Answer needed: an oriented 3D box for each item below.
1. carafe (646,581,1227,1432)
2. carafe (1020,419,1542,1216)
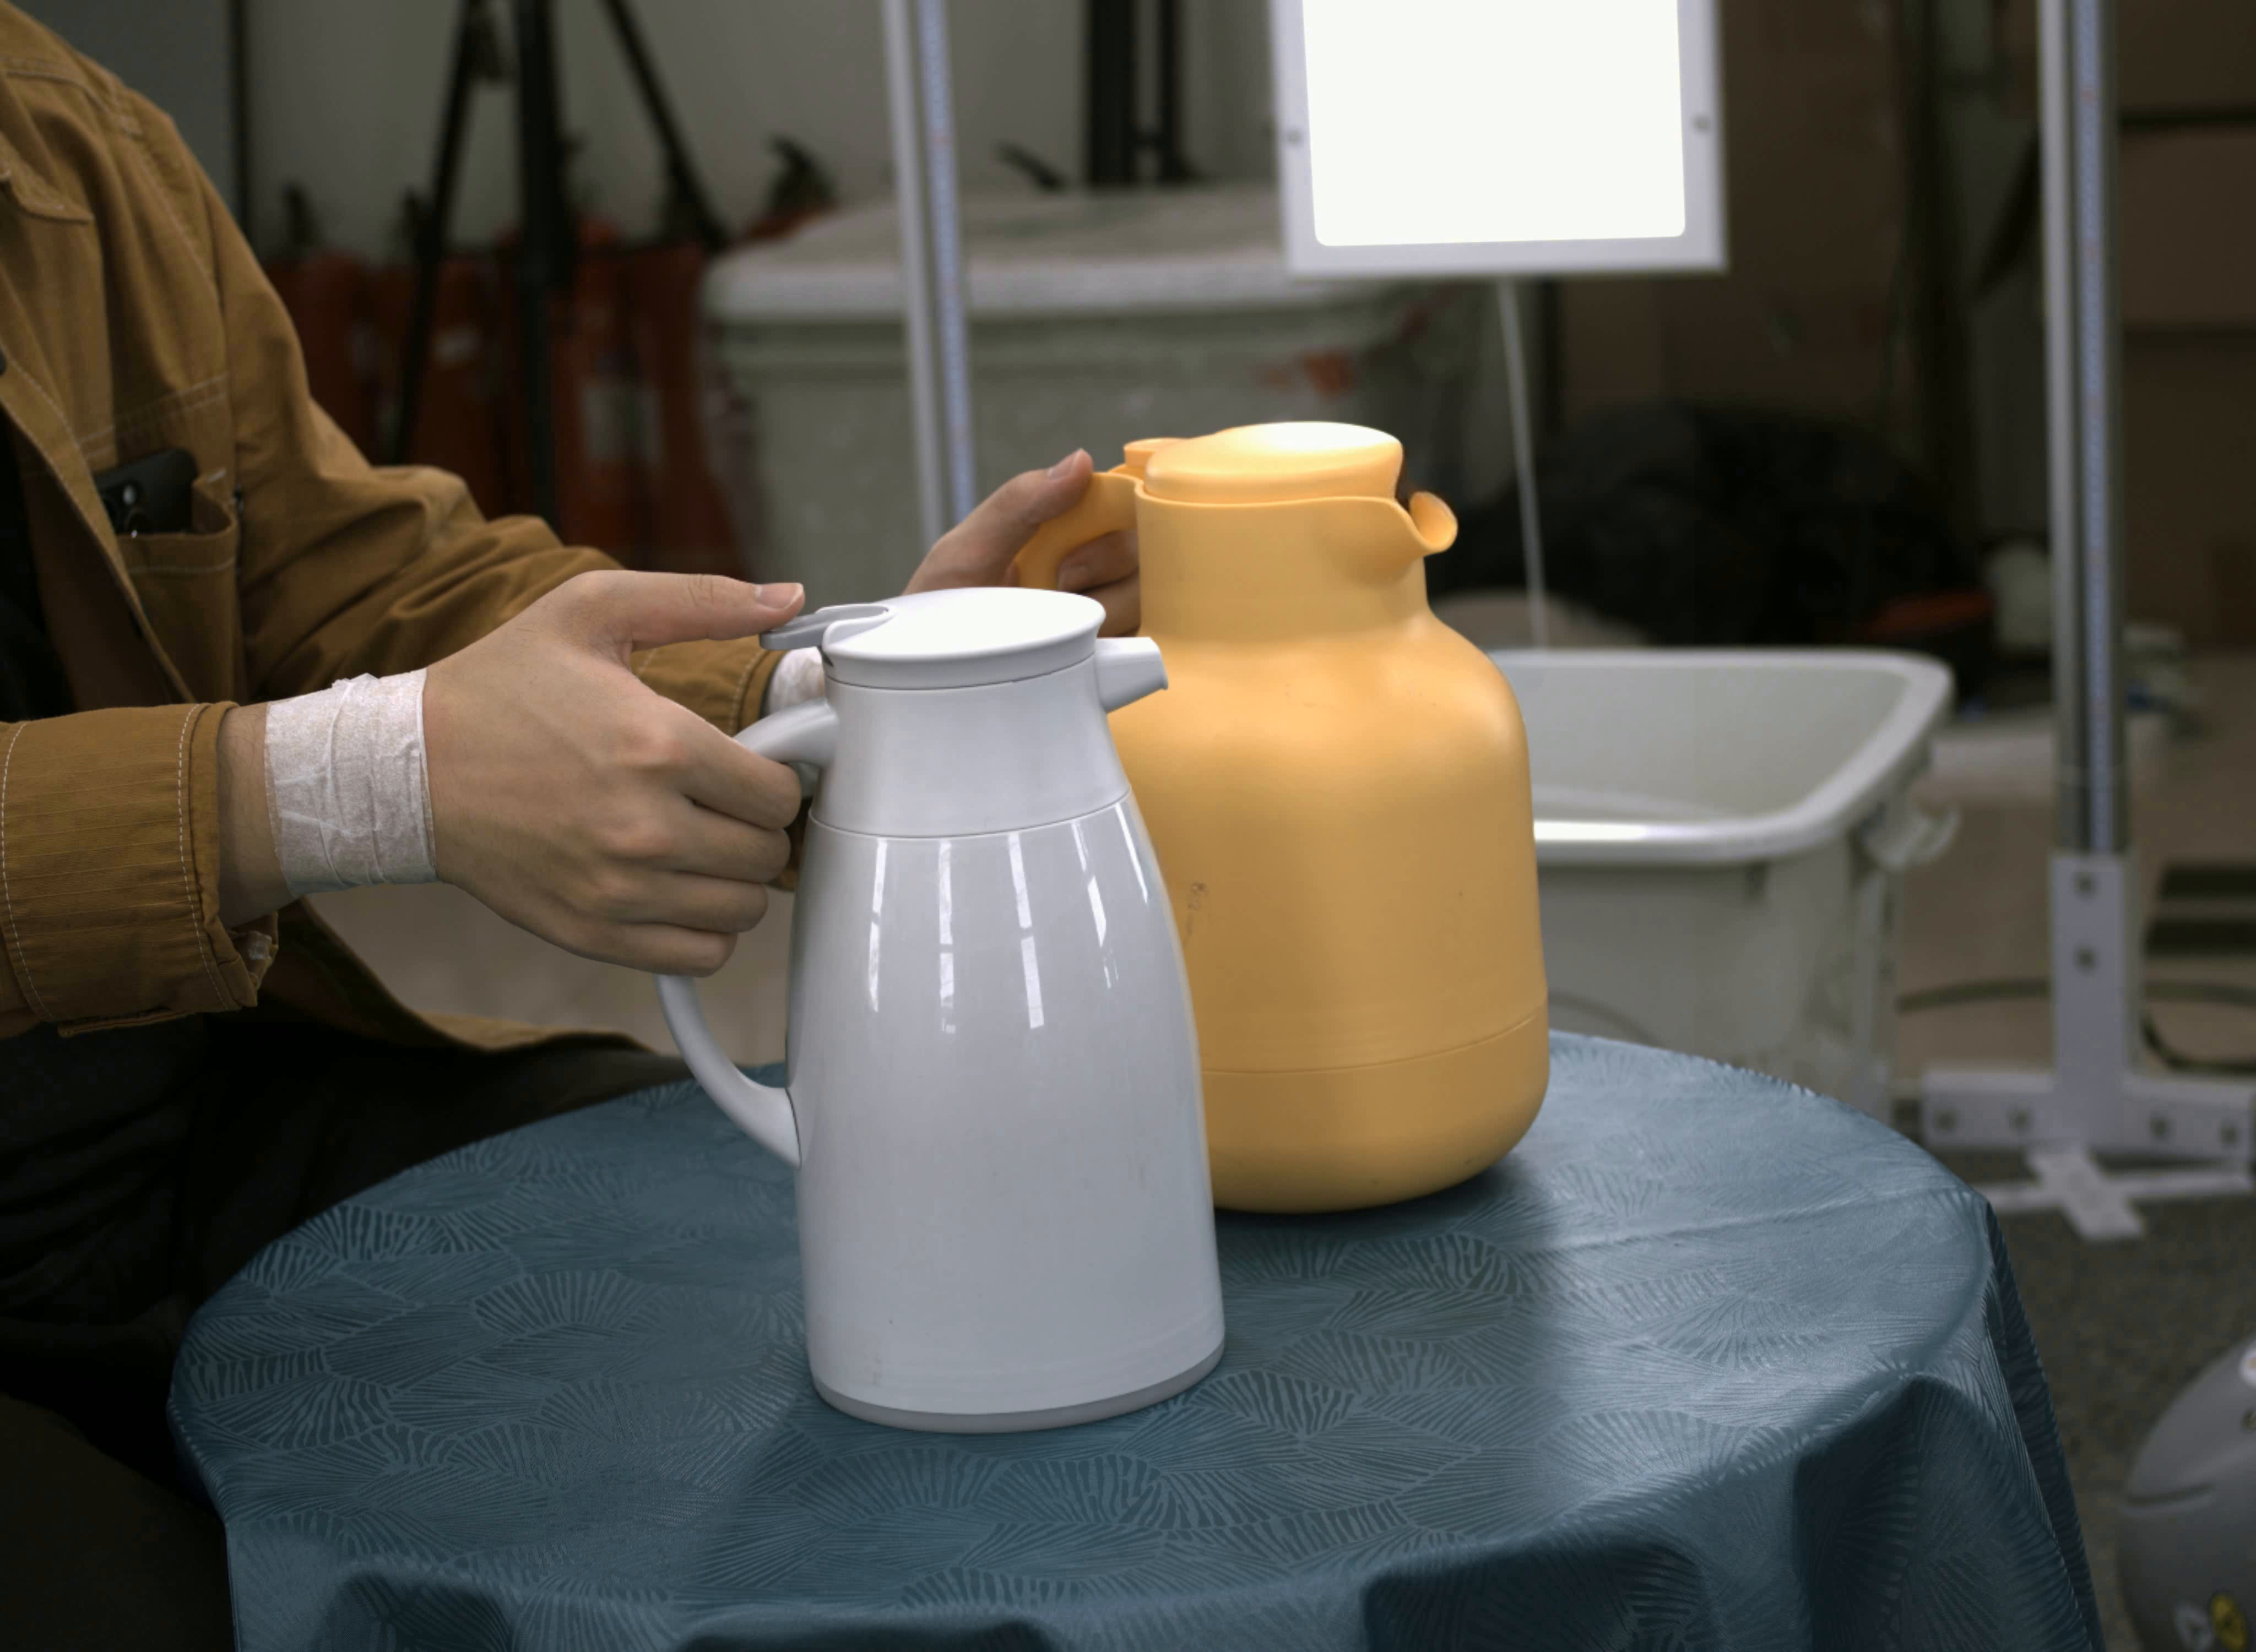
[{"bbox_3d":[-0.062,0.052,1.705,0.166,0.249,0.133,-7,13,-6],"label":"carafe"},{"bbox_3d":[0.045,-0.010,1.892,0.159,0.261,0.207,-14,18,-40],"label":"carafe"}]
